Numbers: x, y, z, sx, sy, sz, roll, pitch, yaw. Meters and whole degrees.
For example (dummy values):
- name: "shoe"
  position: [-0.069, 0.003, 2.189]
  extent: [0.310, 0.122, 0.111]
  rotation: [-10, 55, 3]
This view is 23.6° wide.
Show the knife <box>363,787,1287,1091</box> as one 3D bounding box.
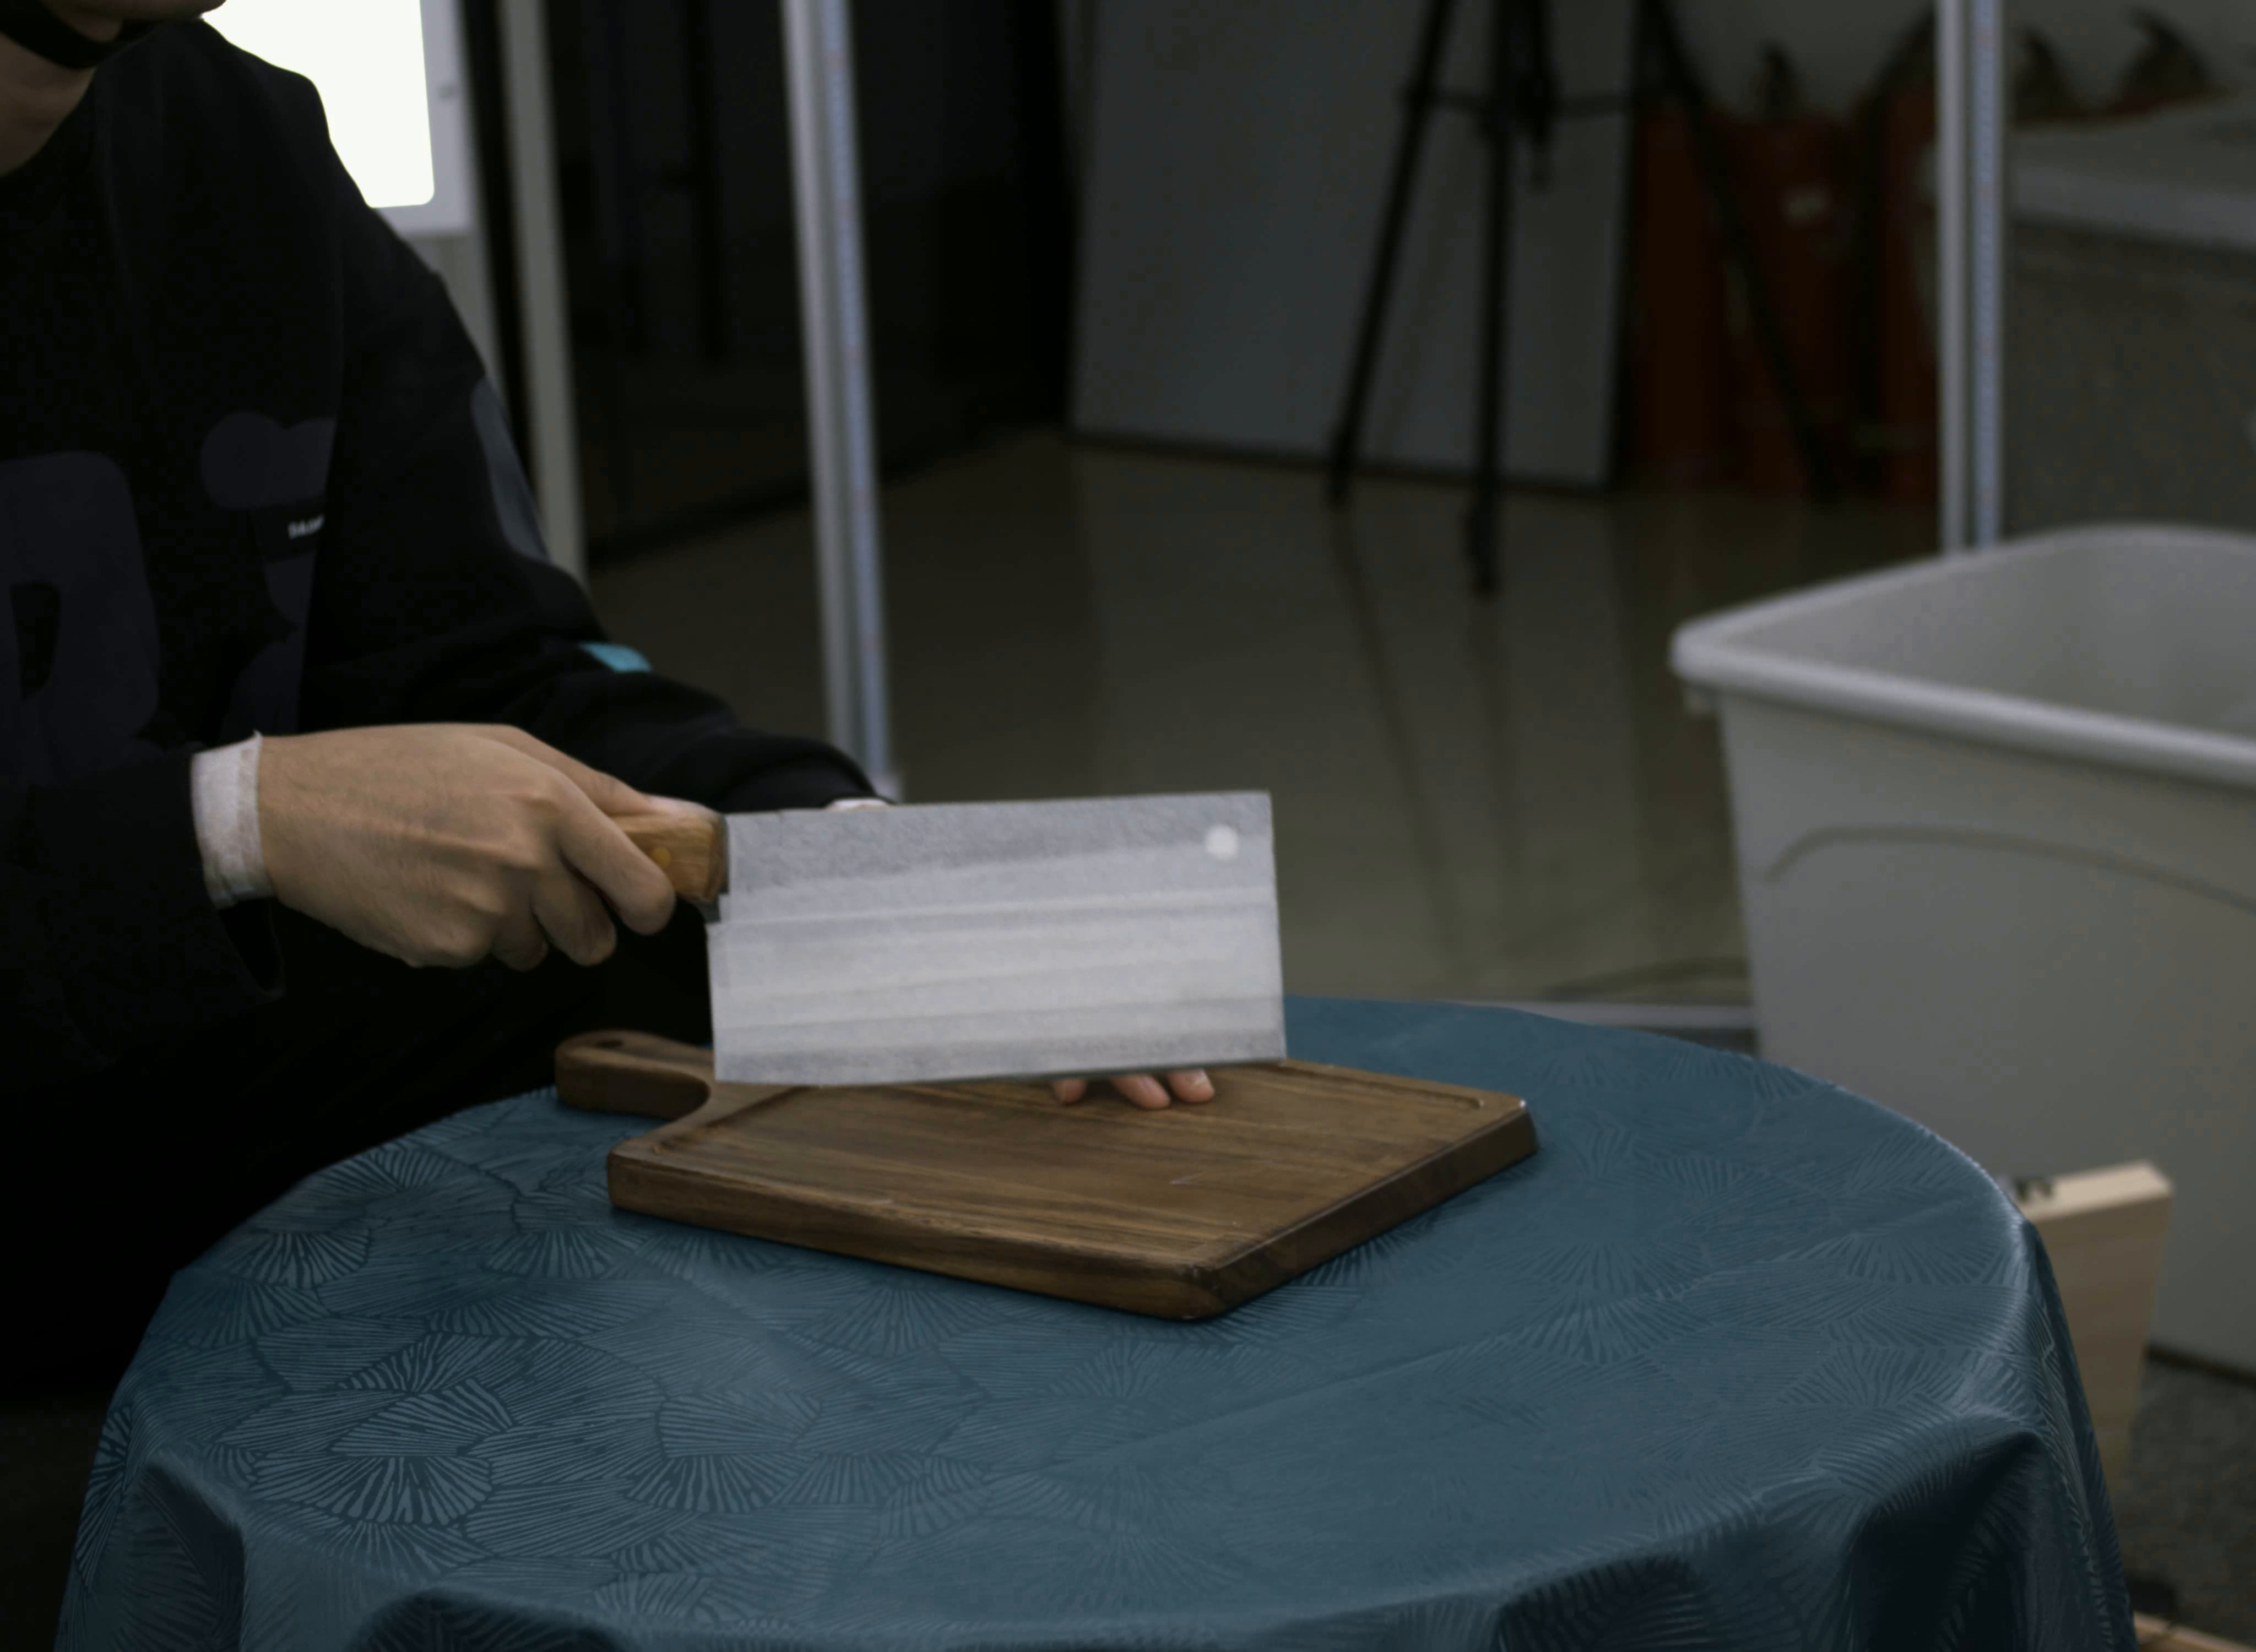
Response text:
- name: "knife"
  position: [-0.099, 0.039, 1.751]
  extent: [0.303, 0.094, 0.021]
  rotation: [-3, 7, 11]

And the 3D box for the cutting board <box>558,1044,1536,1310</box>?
- name: "cutting board"
  position: [-0.056, 0.108, 1.813]
  extent: [0.354, 0.023, 0.197]
  rotation: [4, 15, 38]
